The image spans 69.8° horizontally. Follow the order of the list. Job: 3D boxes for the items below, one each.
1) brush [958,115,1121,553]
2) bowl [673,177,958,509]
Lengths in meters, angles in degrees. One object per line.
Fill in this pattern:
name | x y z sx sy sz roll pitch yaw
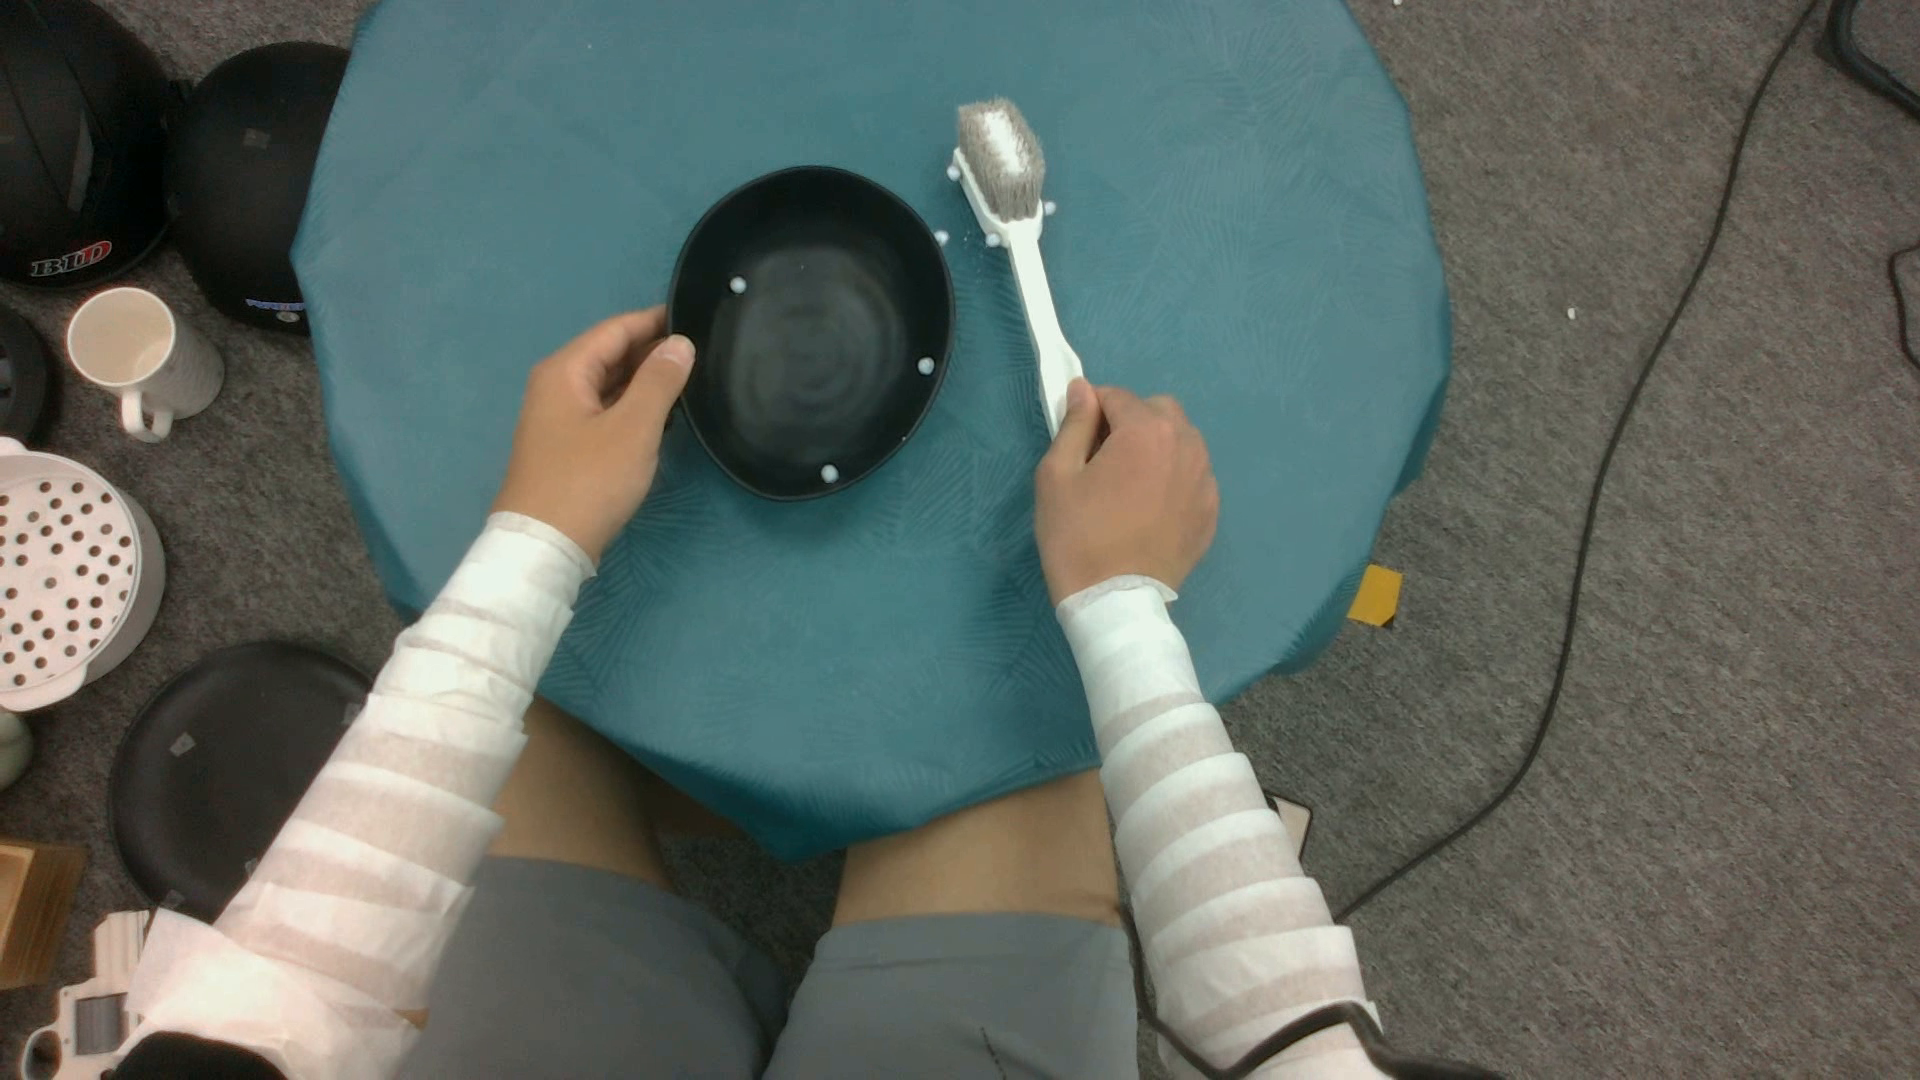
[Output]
brush | 0.044 -0.112 0.711 0.034 0.050 0.244 -12 73 -12
bowl | -0.072 -0.094 0.699 0.137 0.066 0.170 8 78 -3
